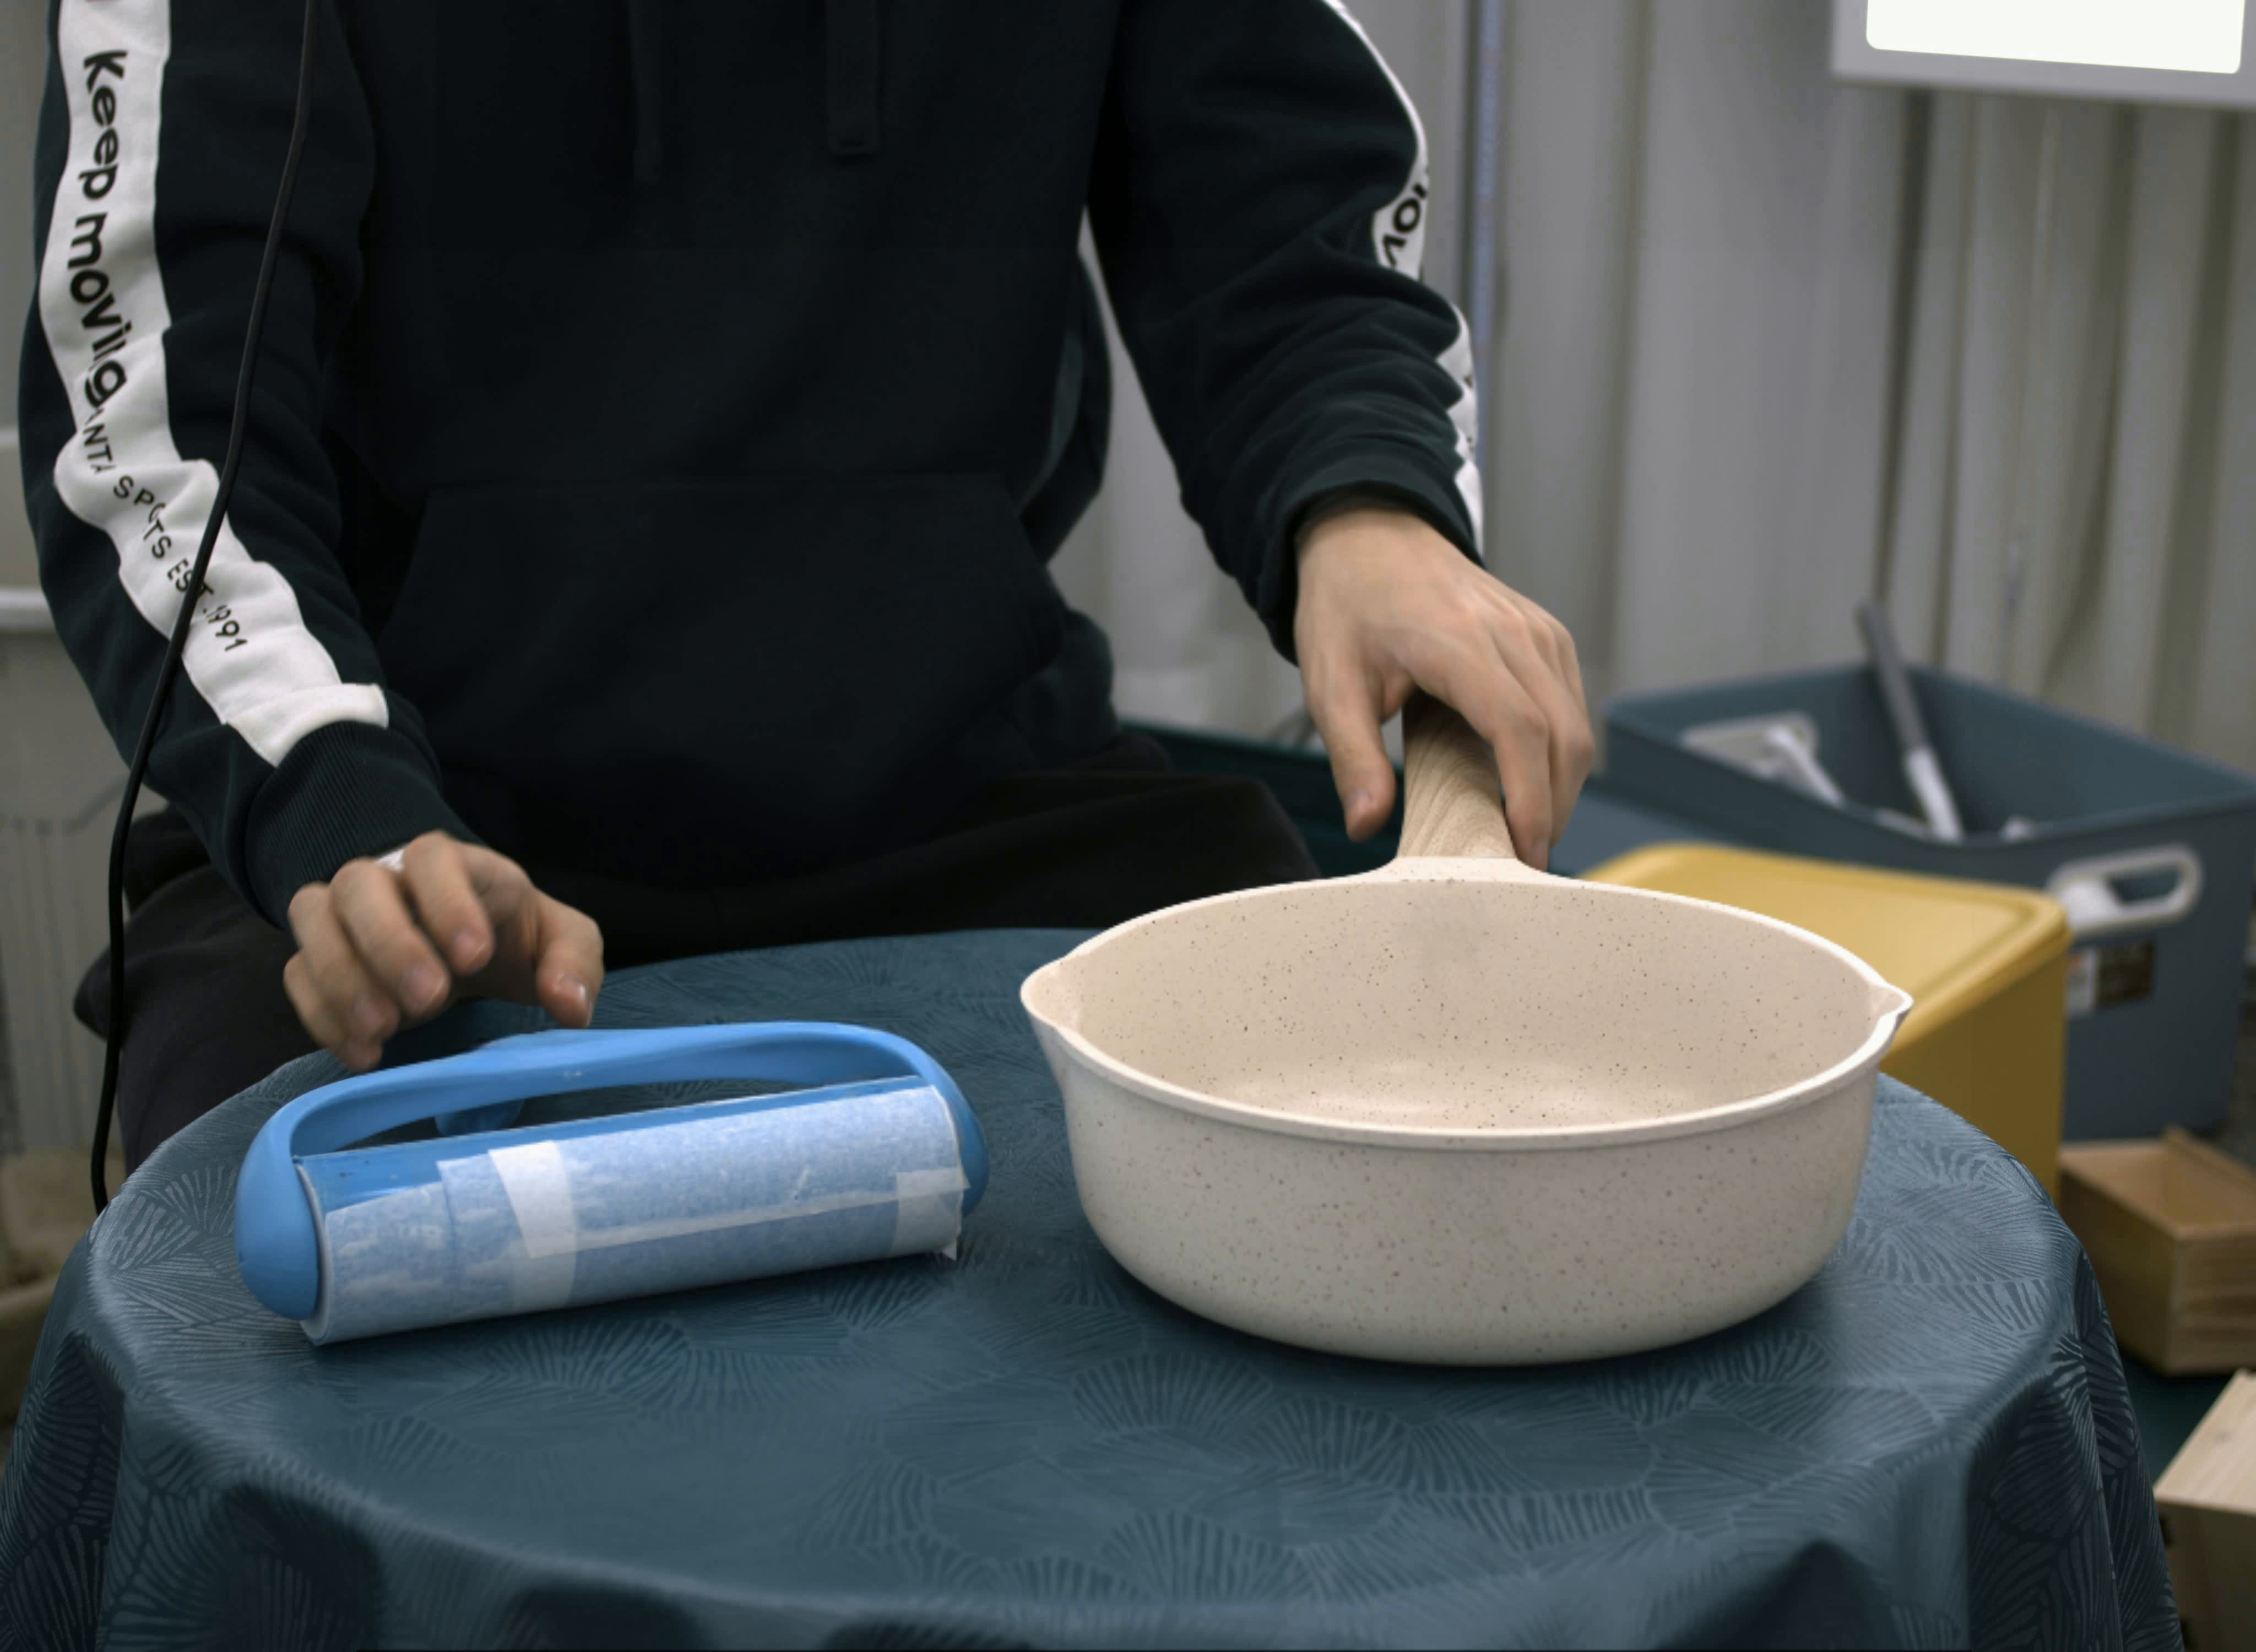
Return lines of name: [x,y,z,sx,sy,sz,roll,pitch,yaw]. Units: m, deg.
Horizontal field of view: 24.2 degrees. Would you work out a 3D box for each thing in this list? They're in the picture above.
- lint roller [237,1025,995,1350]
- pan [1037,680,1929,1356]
lint roller: [-0.172,0.094,1.572,0.230,0.068,0.178,-9,19,-27]
pan: [0.106,0.055,1.642,0.262,0.103,0.432,-1,15,1]
